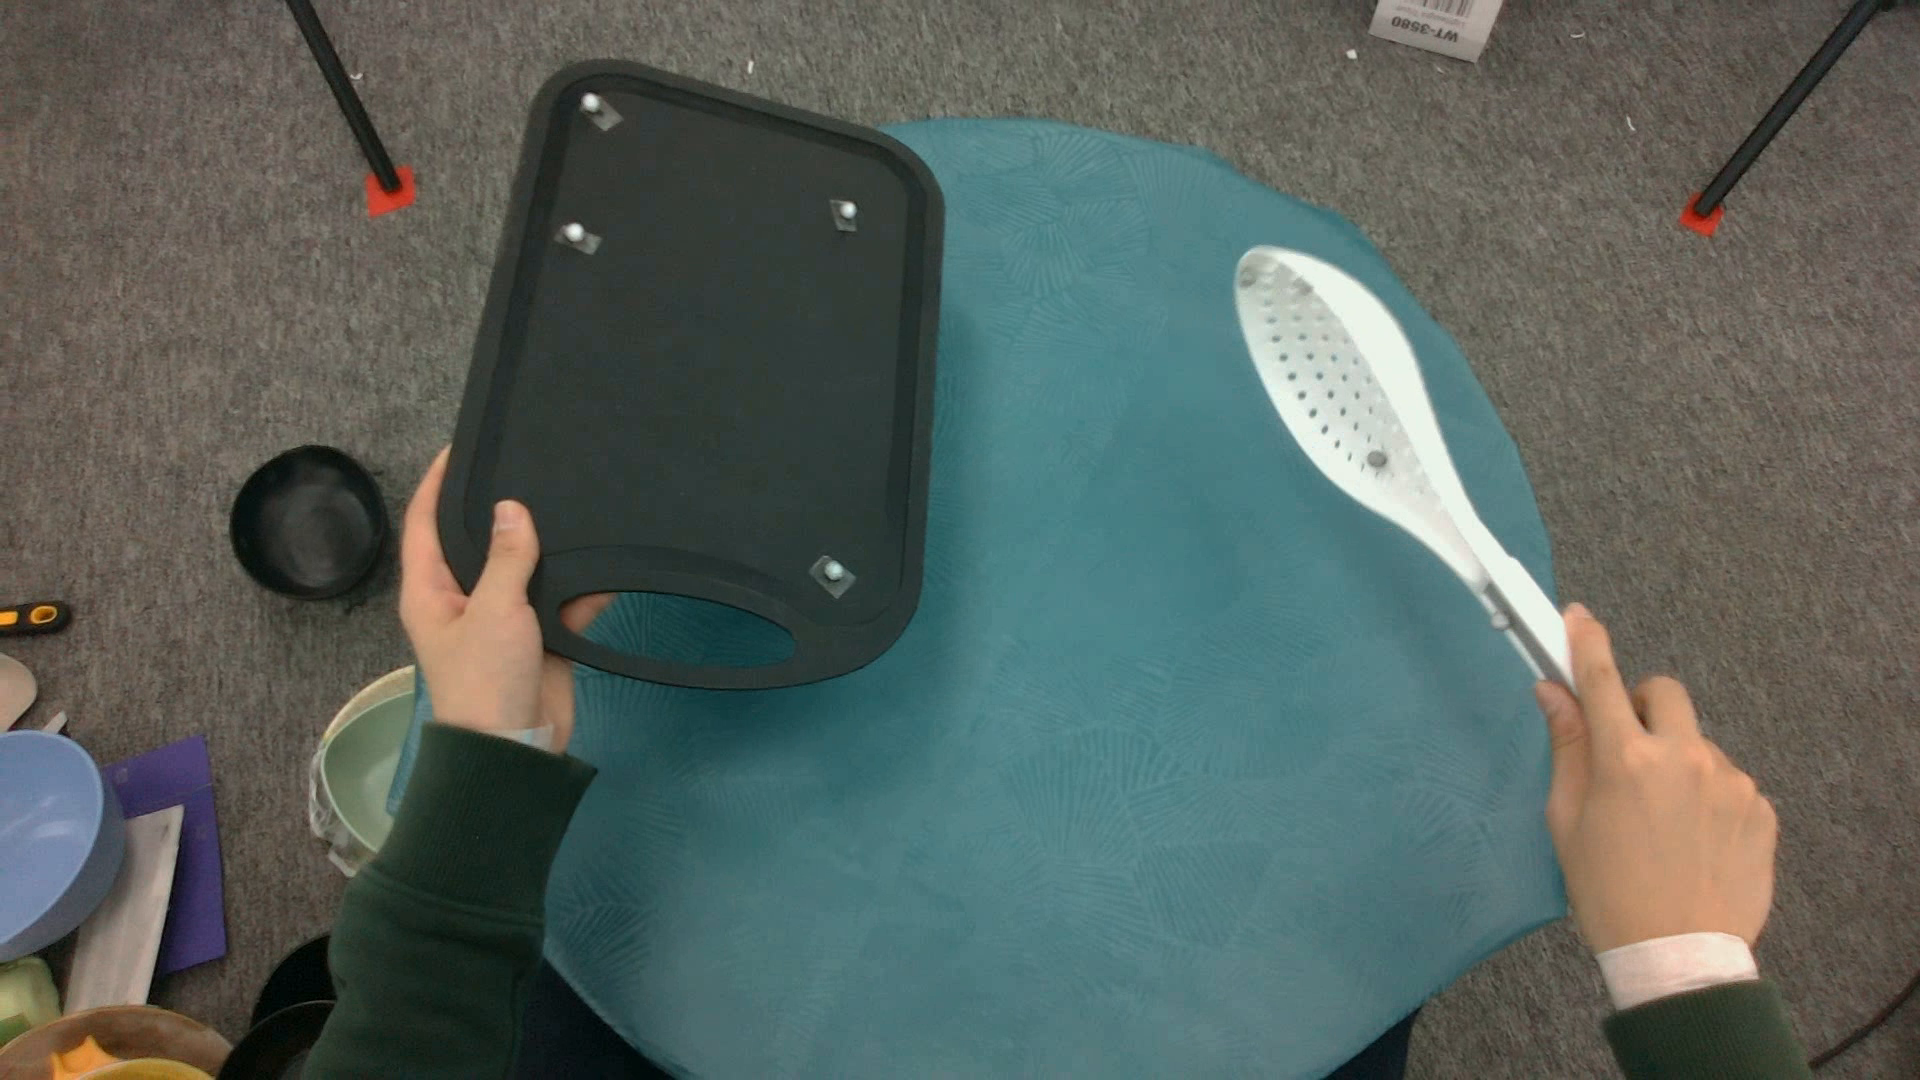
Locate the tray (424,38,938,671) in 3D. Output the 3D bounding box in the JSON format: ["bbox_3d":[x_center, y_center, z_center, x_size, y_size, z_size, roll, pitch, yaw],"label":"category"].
[{"bbox_3d":[-0.116,-0.095,0.642,0.211,0.010,0.326,11,63,-15],"label":"tray"}]

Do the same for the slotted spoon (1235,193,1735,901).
[{"bbox_3d":[0.216,-0.008,0.596,0.046,0.135,0.350,-19,67,-8],"label":"slotted spoon"}]
